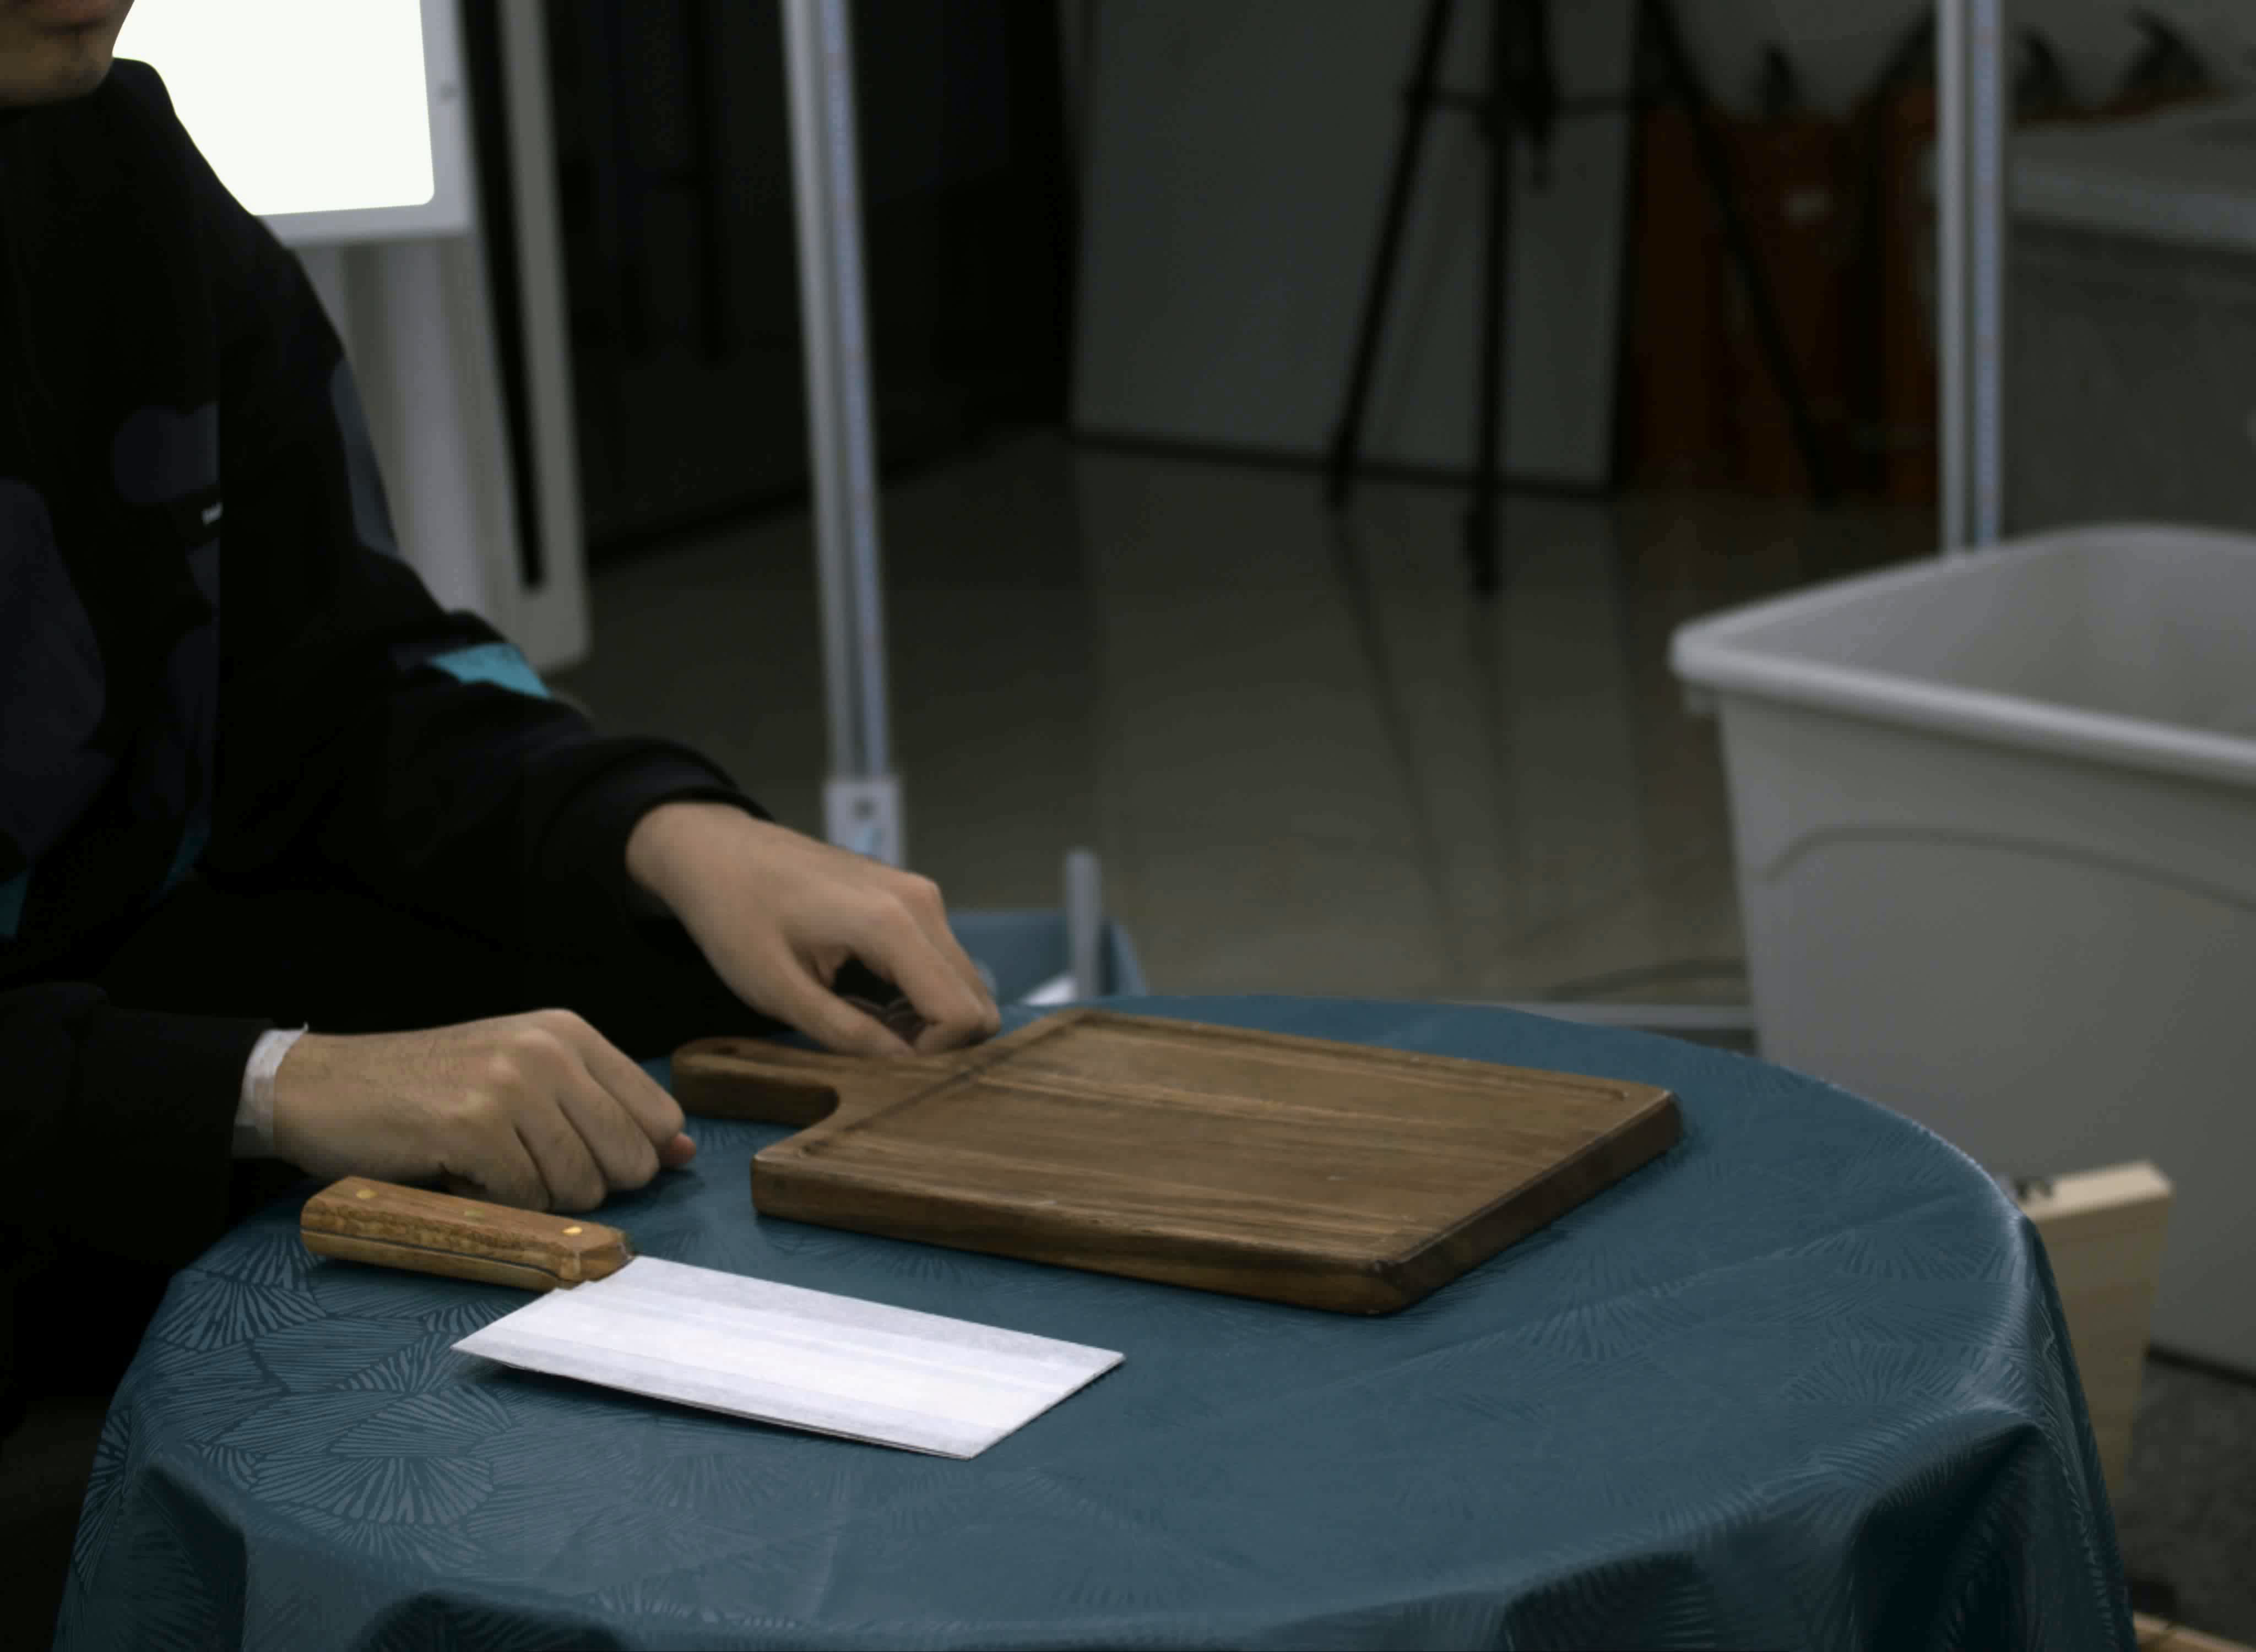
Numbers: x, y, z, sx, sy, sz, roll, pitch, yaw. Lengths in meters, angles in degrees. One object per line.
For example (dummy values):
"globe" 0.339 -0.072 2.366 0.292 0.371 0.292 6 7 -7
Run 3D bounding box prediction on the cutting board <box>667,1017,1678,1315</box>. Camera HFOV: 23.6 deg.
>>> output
"cutting board" -0.011 0.104 1.801 0.354 0.023 0.197 5 17 34

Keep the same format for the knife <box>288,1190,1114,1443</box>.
"knife" -0.150 0.153 1.656 0.307 0.021 0.091 7 19 32
